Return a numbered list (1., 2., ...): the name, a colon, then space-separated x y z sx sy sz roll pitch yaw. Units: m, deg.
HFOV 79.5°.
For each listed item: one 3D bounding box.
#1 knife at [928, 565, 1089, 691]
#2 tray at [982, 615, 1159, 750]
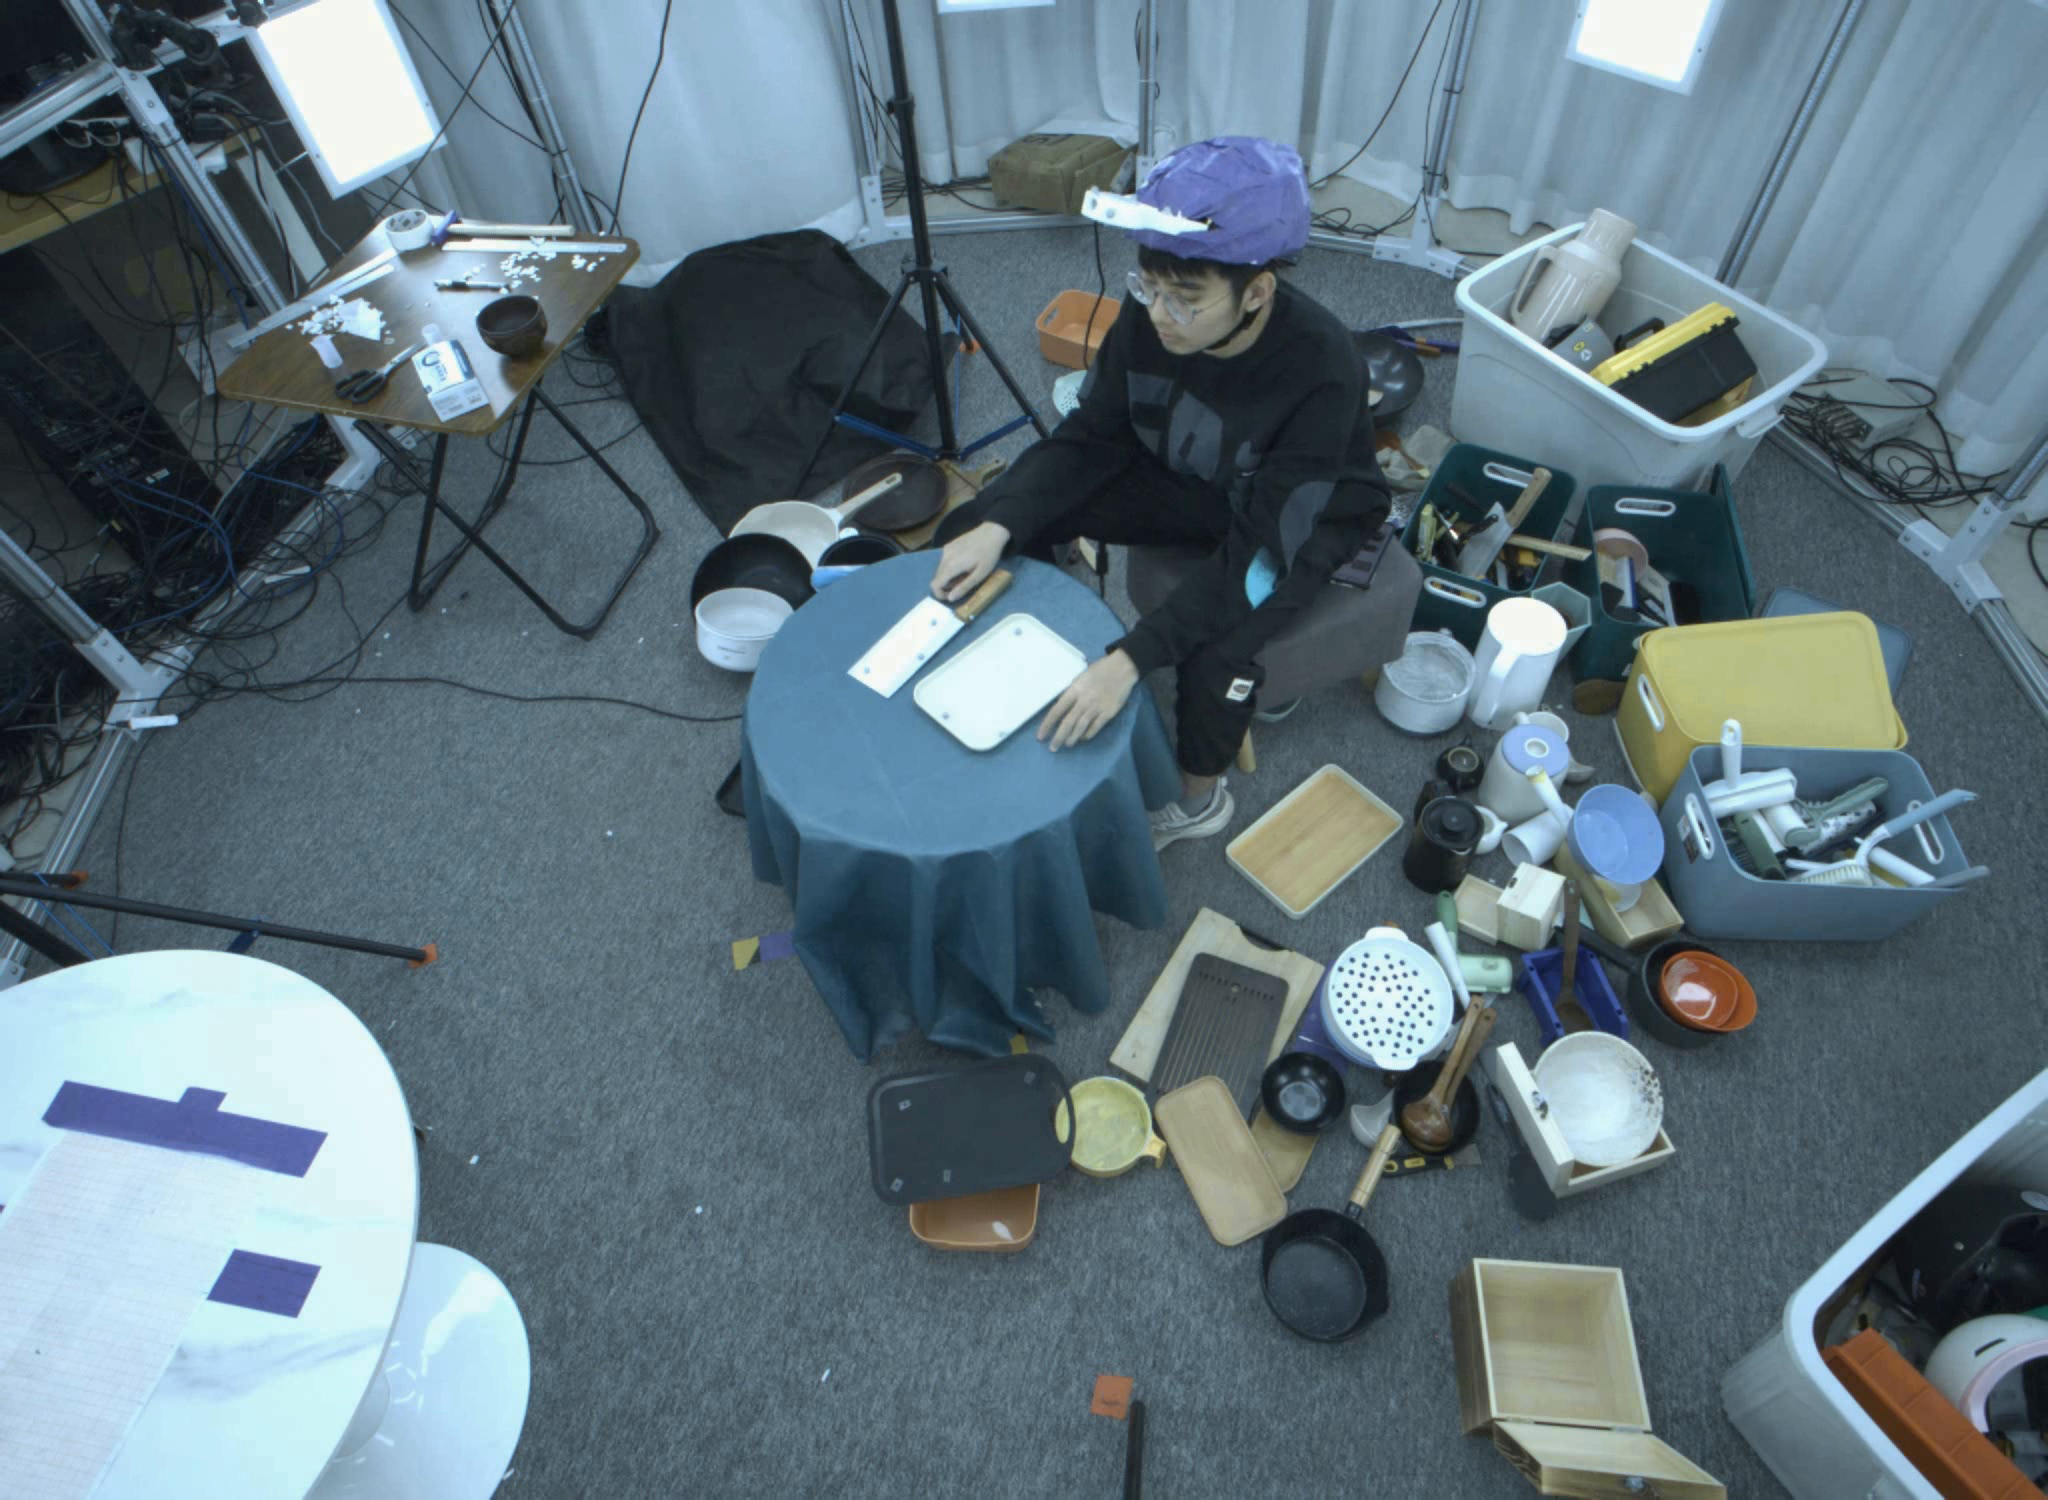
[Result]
1. knife: -0.027 -0.205 1.923 0.091 0.021 0.307 36 66 26
2. tray: 0.070 -0.102 1.845 0.241 0.017 0.168 -35 60 -20
